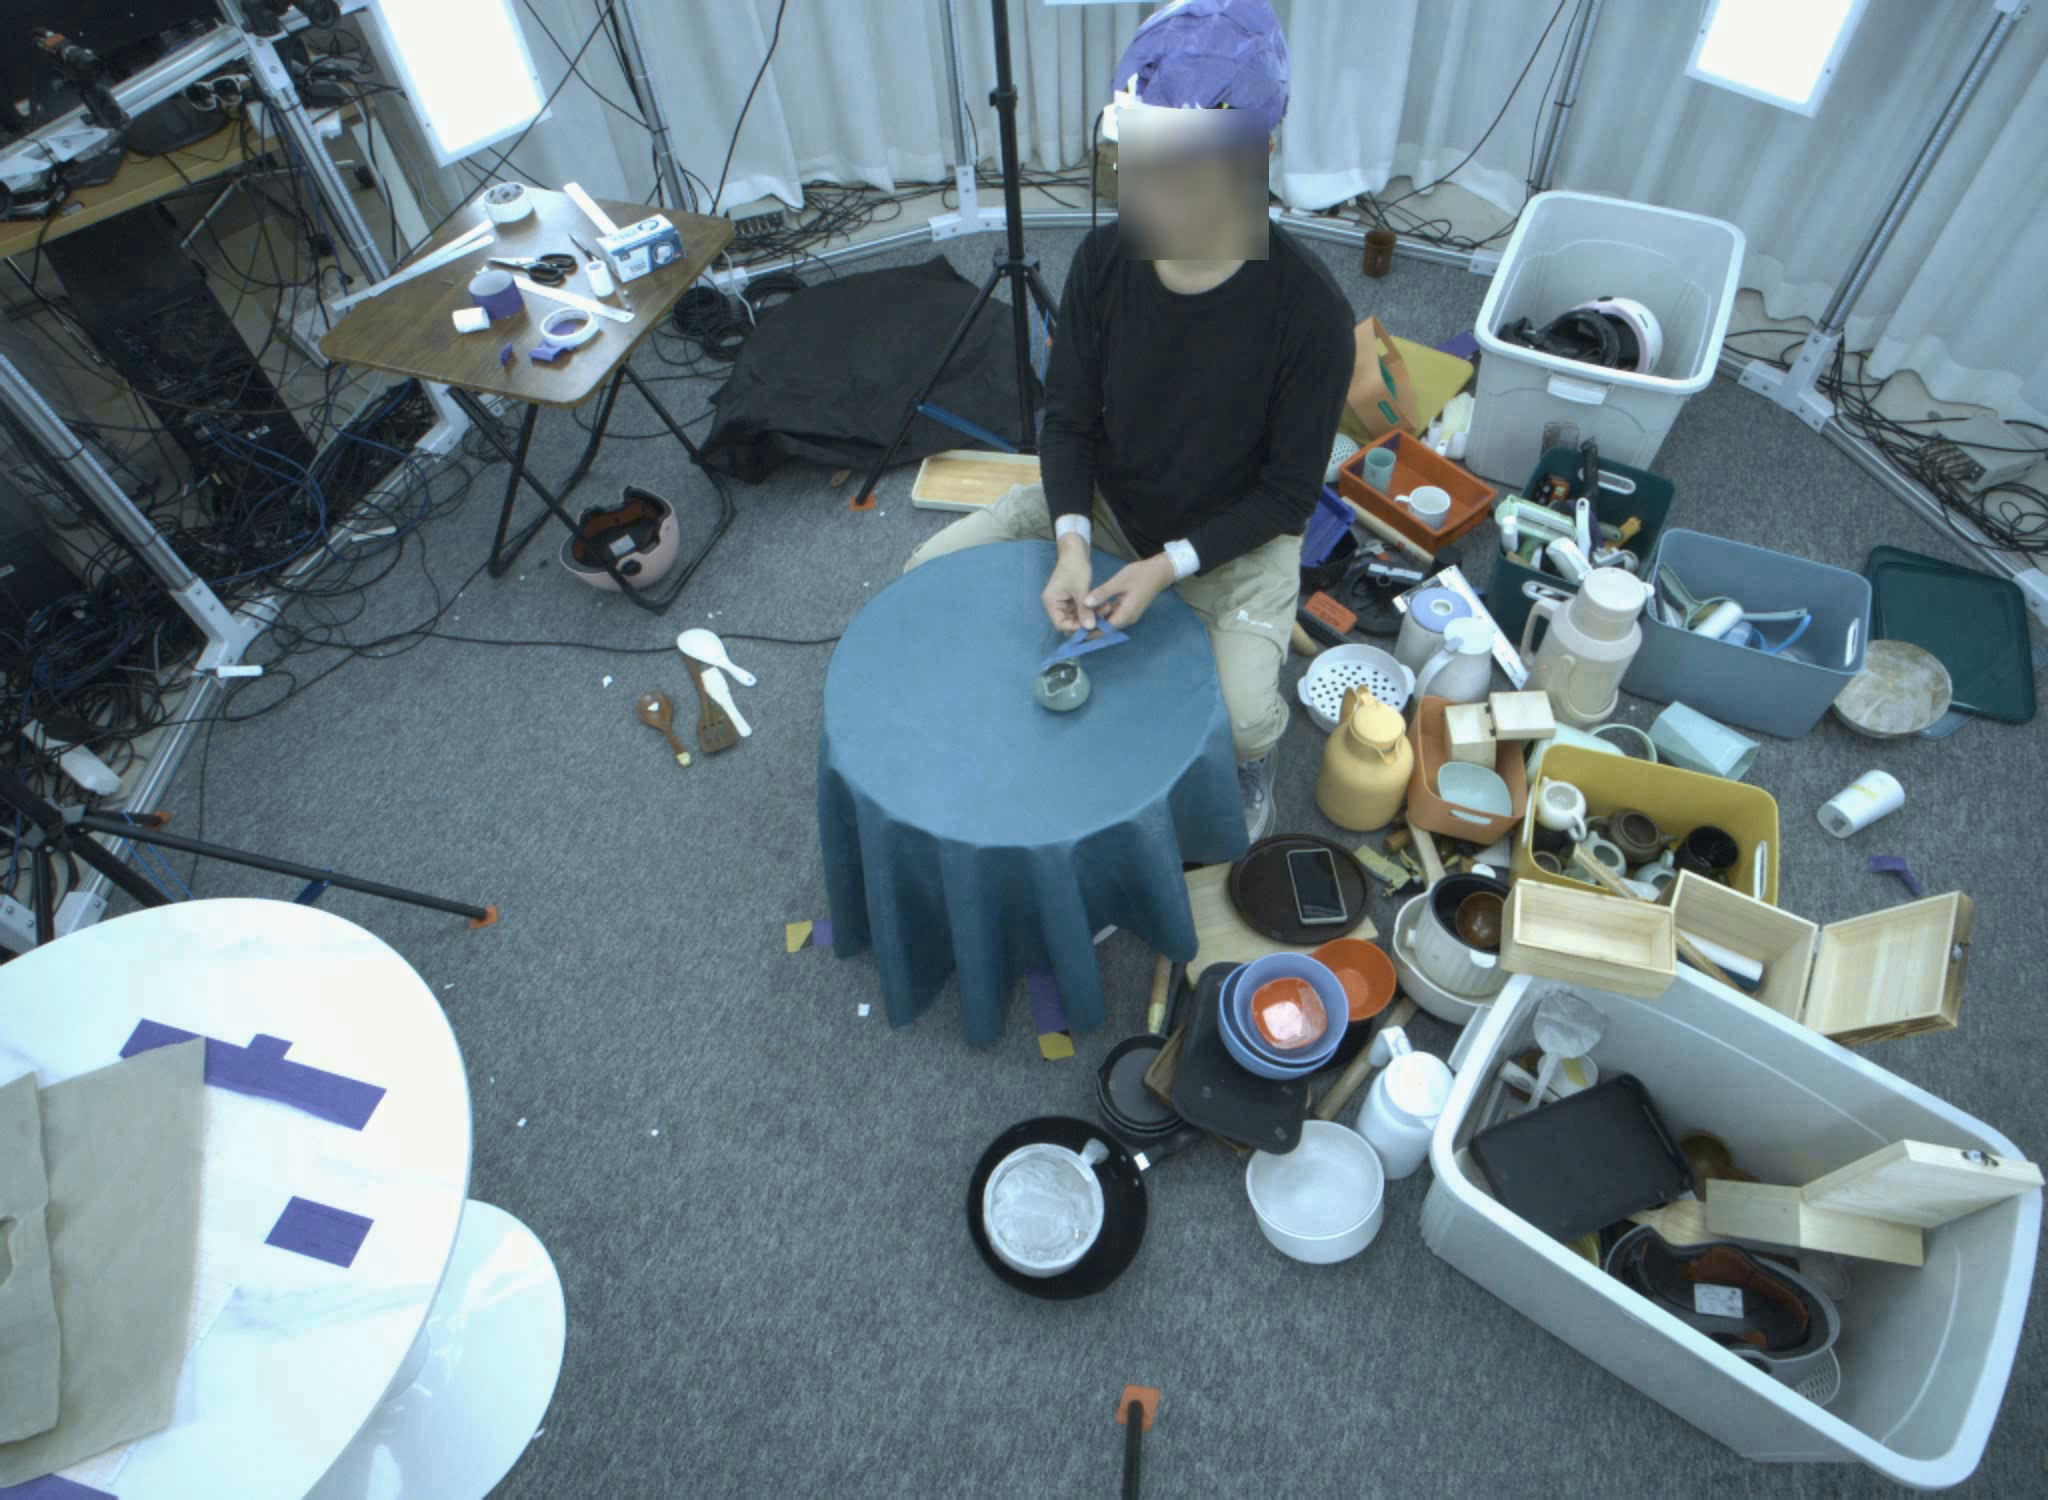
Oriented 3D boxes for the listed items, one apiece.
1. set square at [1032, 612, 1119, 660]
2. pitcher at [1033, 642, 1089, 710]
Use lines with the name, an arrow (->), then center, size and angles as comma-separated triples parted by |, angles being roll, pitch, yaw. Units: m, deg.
set square -> 0.071, -0.172, 1.832 | 0.132, 0.006, 0.060 | -14, 63, 0
pitcher -> 0.058, -0.107, 1.827 | 0.083, 0.057, 0.112 | 16, 57, 11
